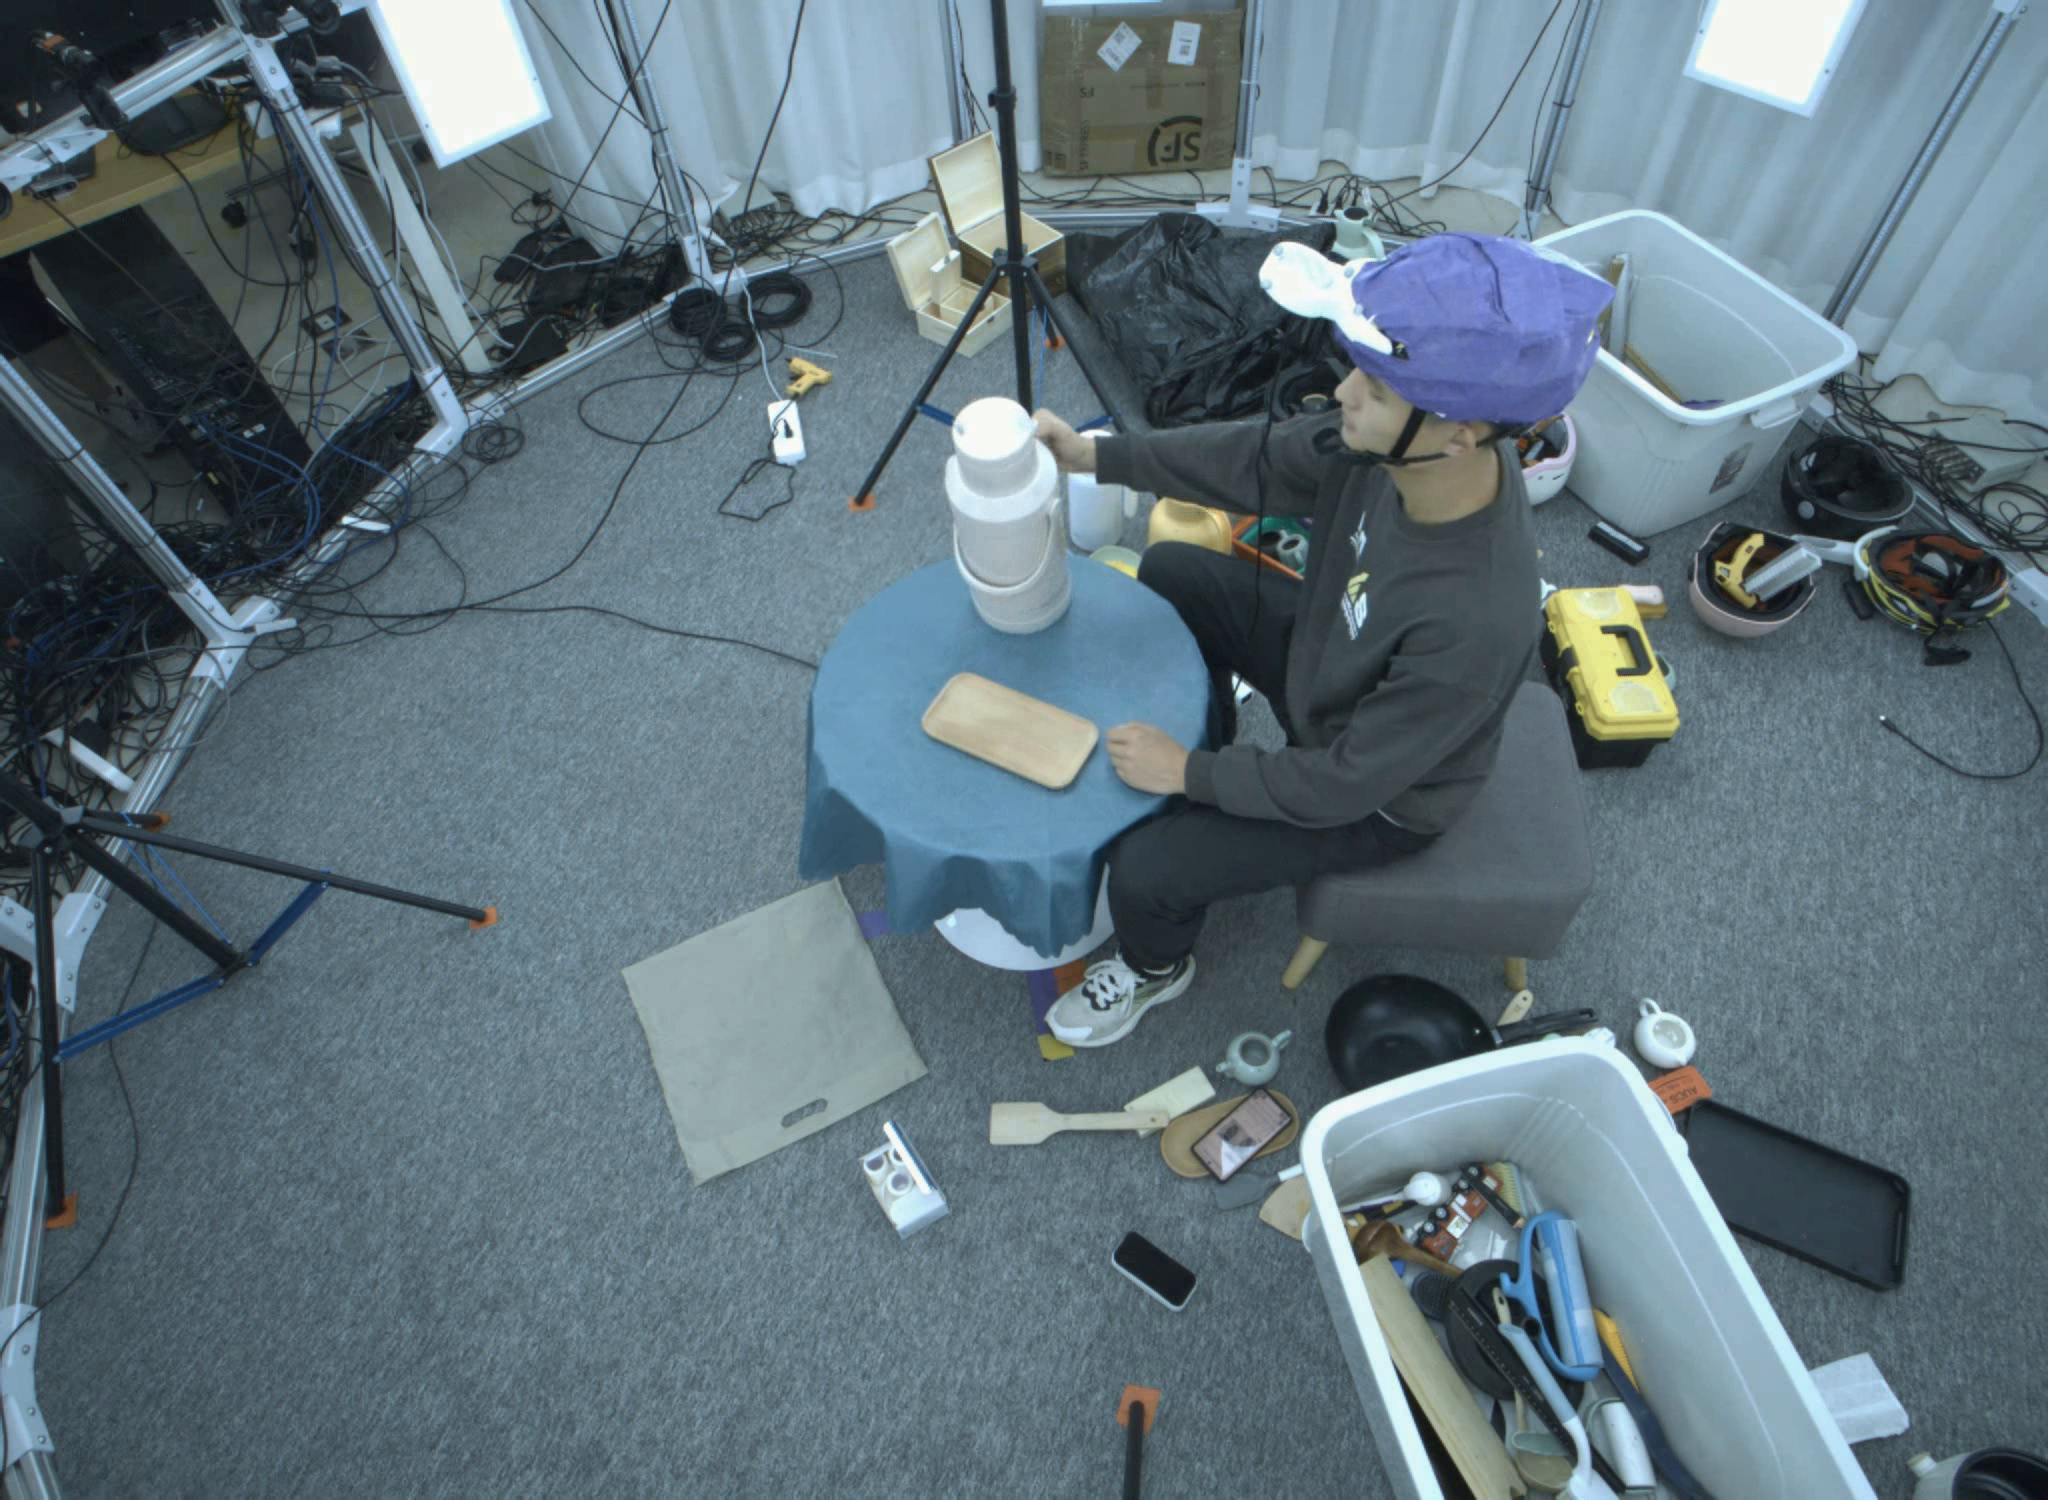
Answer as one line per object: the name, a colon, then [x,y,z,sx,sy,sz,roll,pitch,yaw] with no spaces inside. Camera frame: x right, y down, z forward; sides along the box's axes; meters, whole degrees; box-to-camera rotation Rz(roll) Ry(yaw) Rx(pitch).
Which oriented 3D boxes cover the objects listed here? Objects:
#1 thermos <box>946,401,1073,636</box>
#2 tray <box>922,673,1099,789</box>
thermos: [-0.013,-0.345,1.771,0.173,0.411,0.207,25,69,18]
tray: [-0.020,-0.029,1.797,0.247,0.023,0.131,24,61,17]
